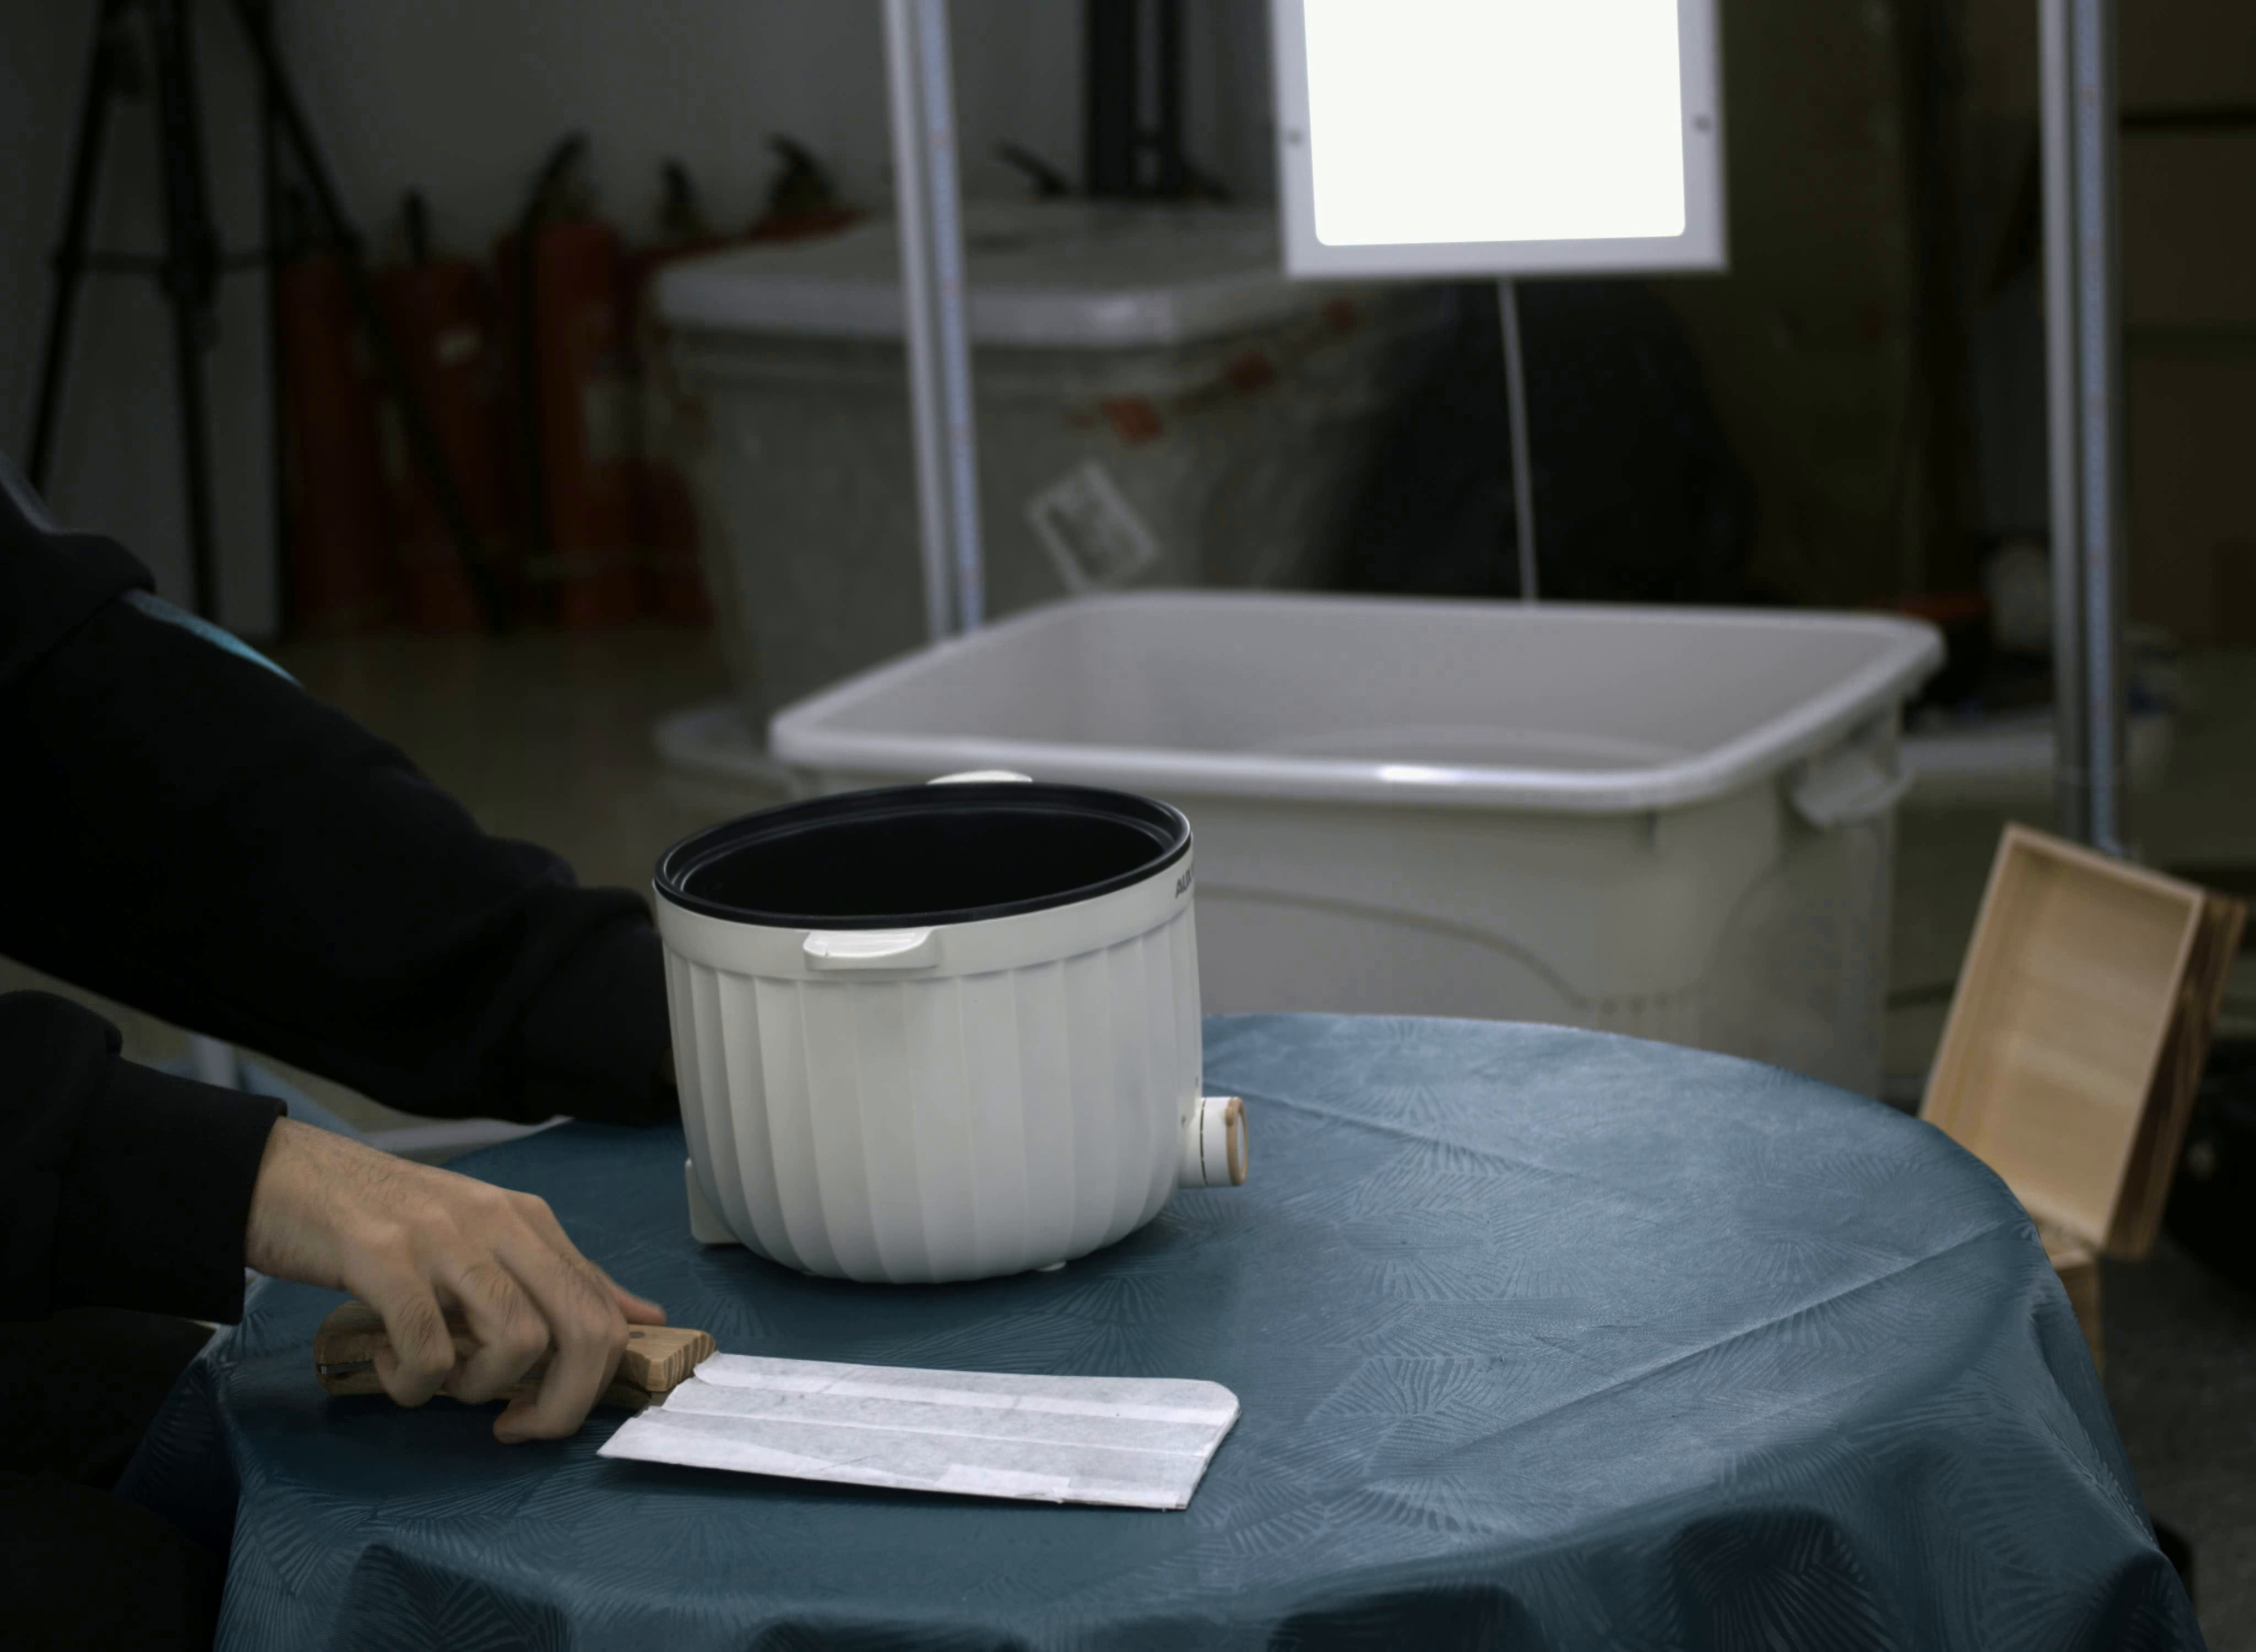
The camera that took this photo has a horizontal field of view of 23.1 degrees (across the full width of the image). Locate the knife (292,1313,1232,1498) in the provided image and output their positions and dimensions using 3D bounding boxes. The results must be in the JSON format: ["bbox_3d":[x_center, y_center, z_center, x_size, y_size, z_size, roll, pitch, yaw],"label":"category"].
[{"bbox_3d":[-0.115,0.177,1.697,0.320,0.022,0.112,4,16,23],"label":"knife"}]

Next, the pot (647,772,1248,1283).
[{"bbox_3d":[-0.059,0.070,1.856,0.192,0.143,0.238,-6,15,11],"label":"pot"}]
